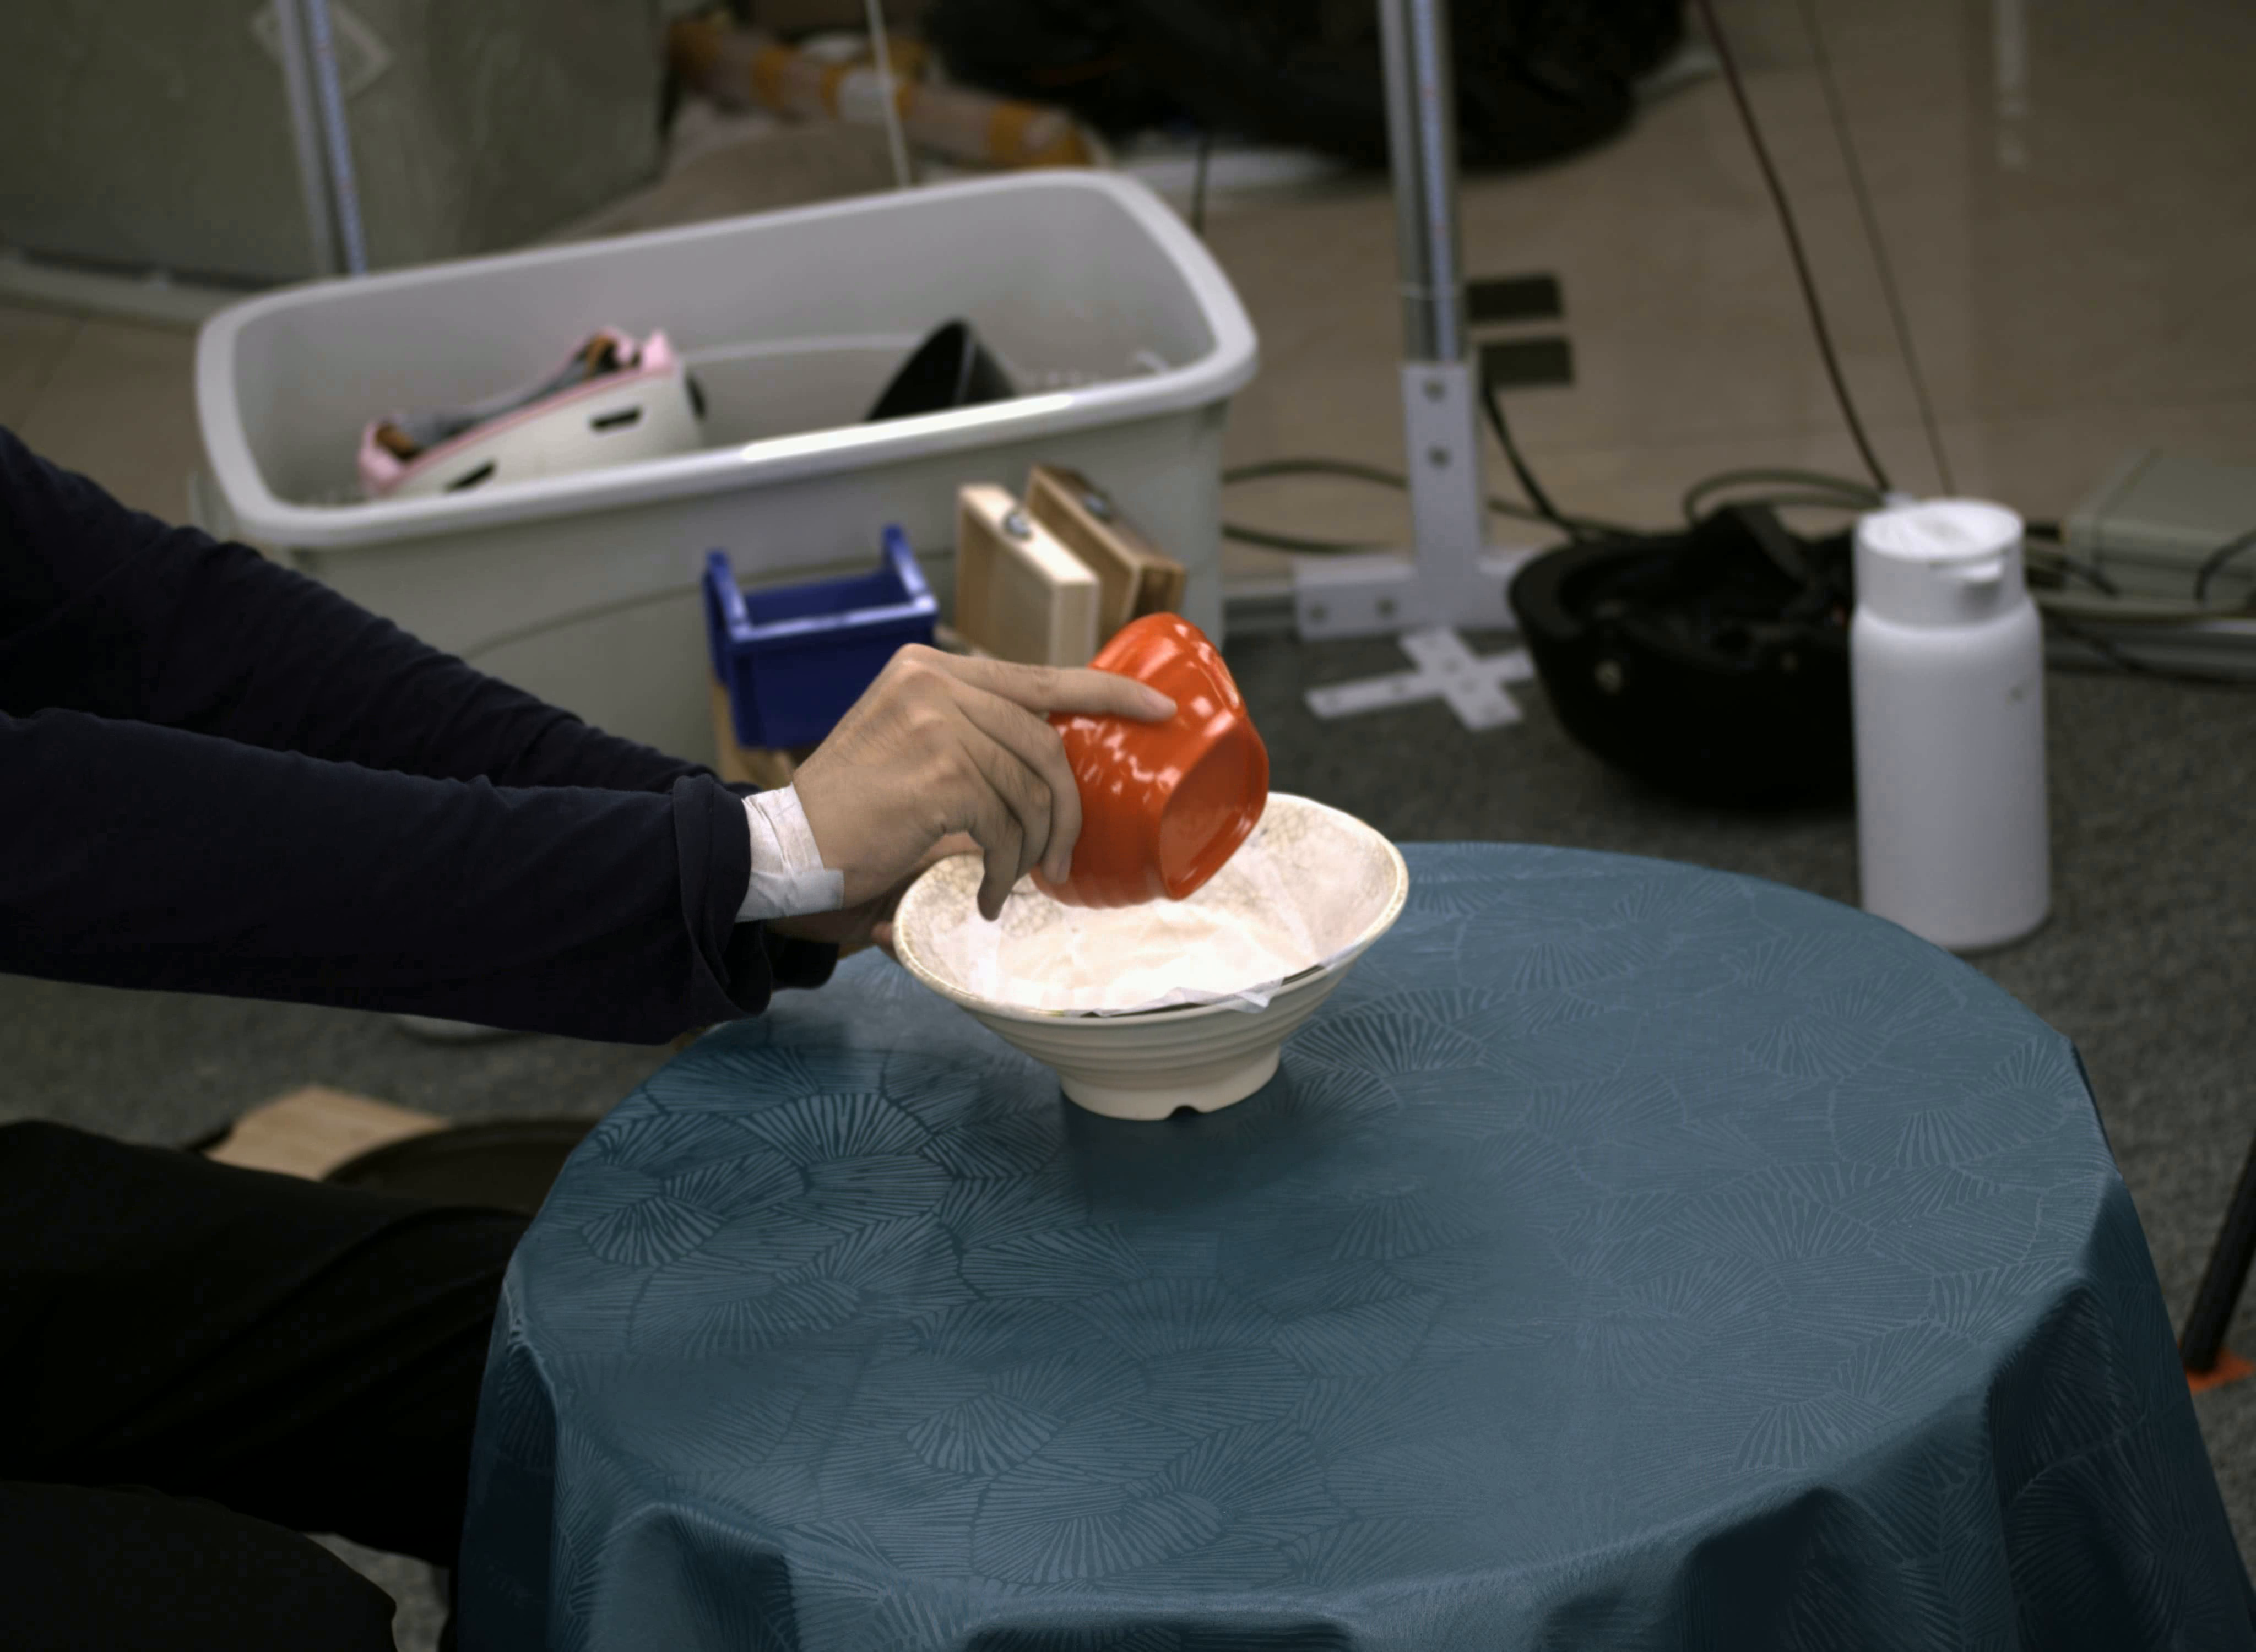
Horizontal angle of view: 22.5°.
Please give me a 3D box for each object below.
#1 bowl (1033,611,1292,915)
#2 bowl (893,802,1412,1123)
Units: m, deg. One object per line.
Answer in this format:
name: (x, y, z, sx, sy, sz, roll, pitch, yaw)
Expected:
bowl: (0.020, -0.016, 2.100, 0.051, 0.121, 0.118, 27, 39, 31)
bowl: (0.013, 0.063, 2.221, 0.203, 0.079, 0.201, -6, 24, 3)
